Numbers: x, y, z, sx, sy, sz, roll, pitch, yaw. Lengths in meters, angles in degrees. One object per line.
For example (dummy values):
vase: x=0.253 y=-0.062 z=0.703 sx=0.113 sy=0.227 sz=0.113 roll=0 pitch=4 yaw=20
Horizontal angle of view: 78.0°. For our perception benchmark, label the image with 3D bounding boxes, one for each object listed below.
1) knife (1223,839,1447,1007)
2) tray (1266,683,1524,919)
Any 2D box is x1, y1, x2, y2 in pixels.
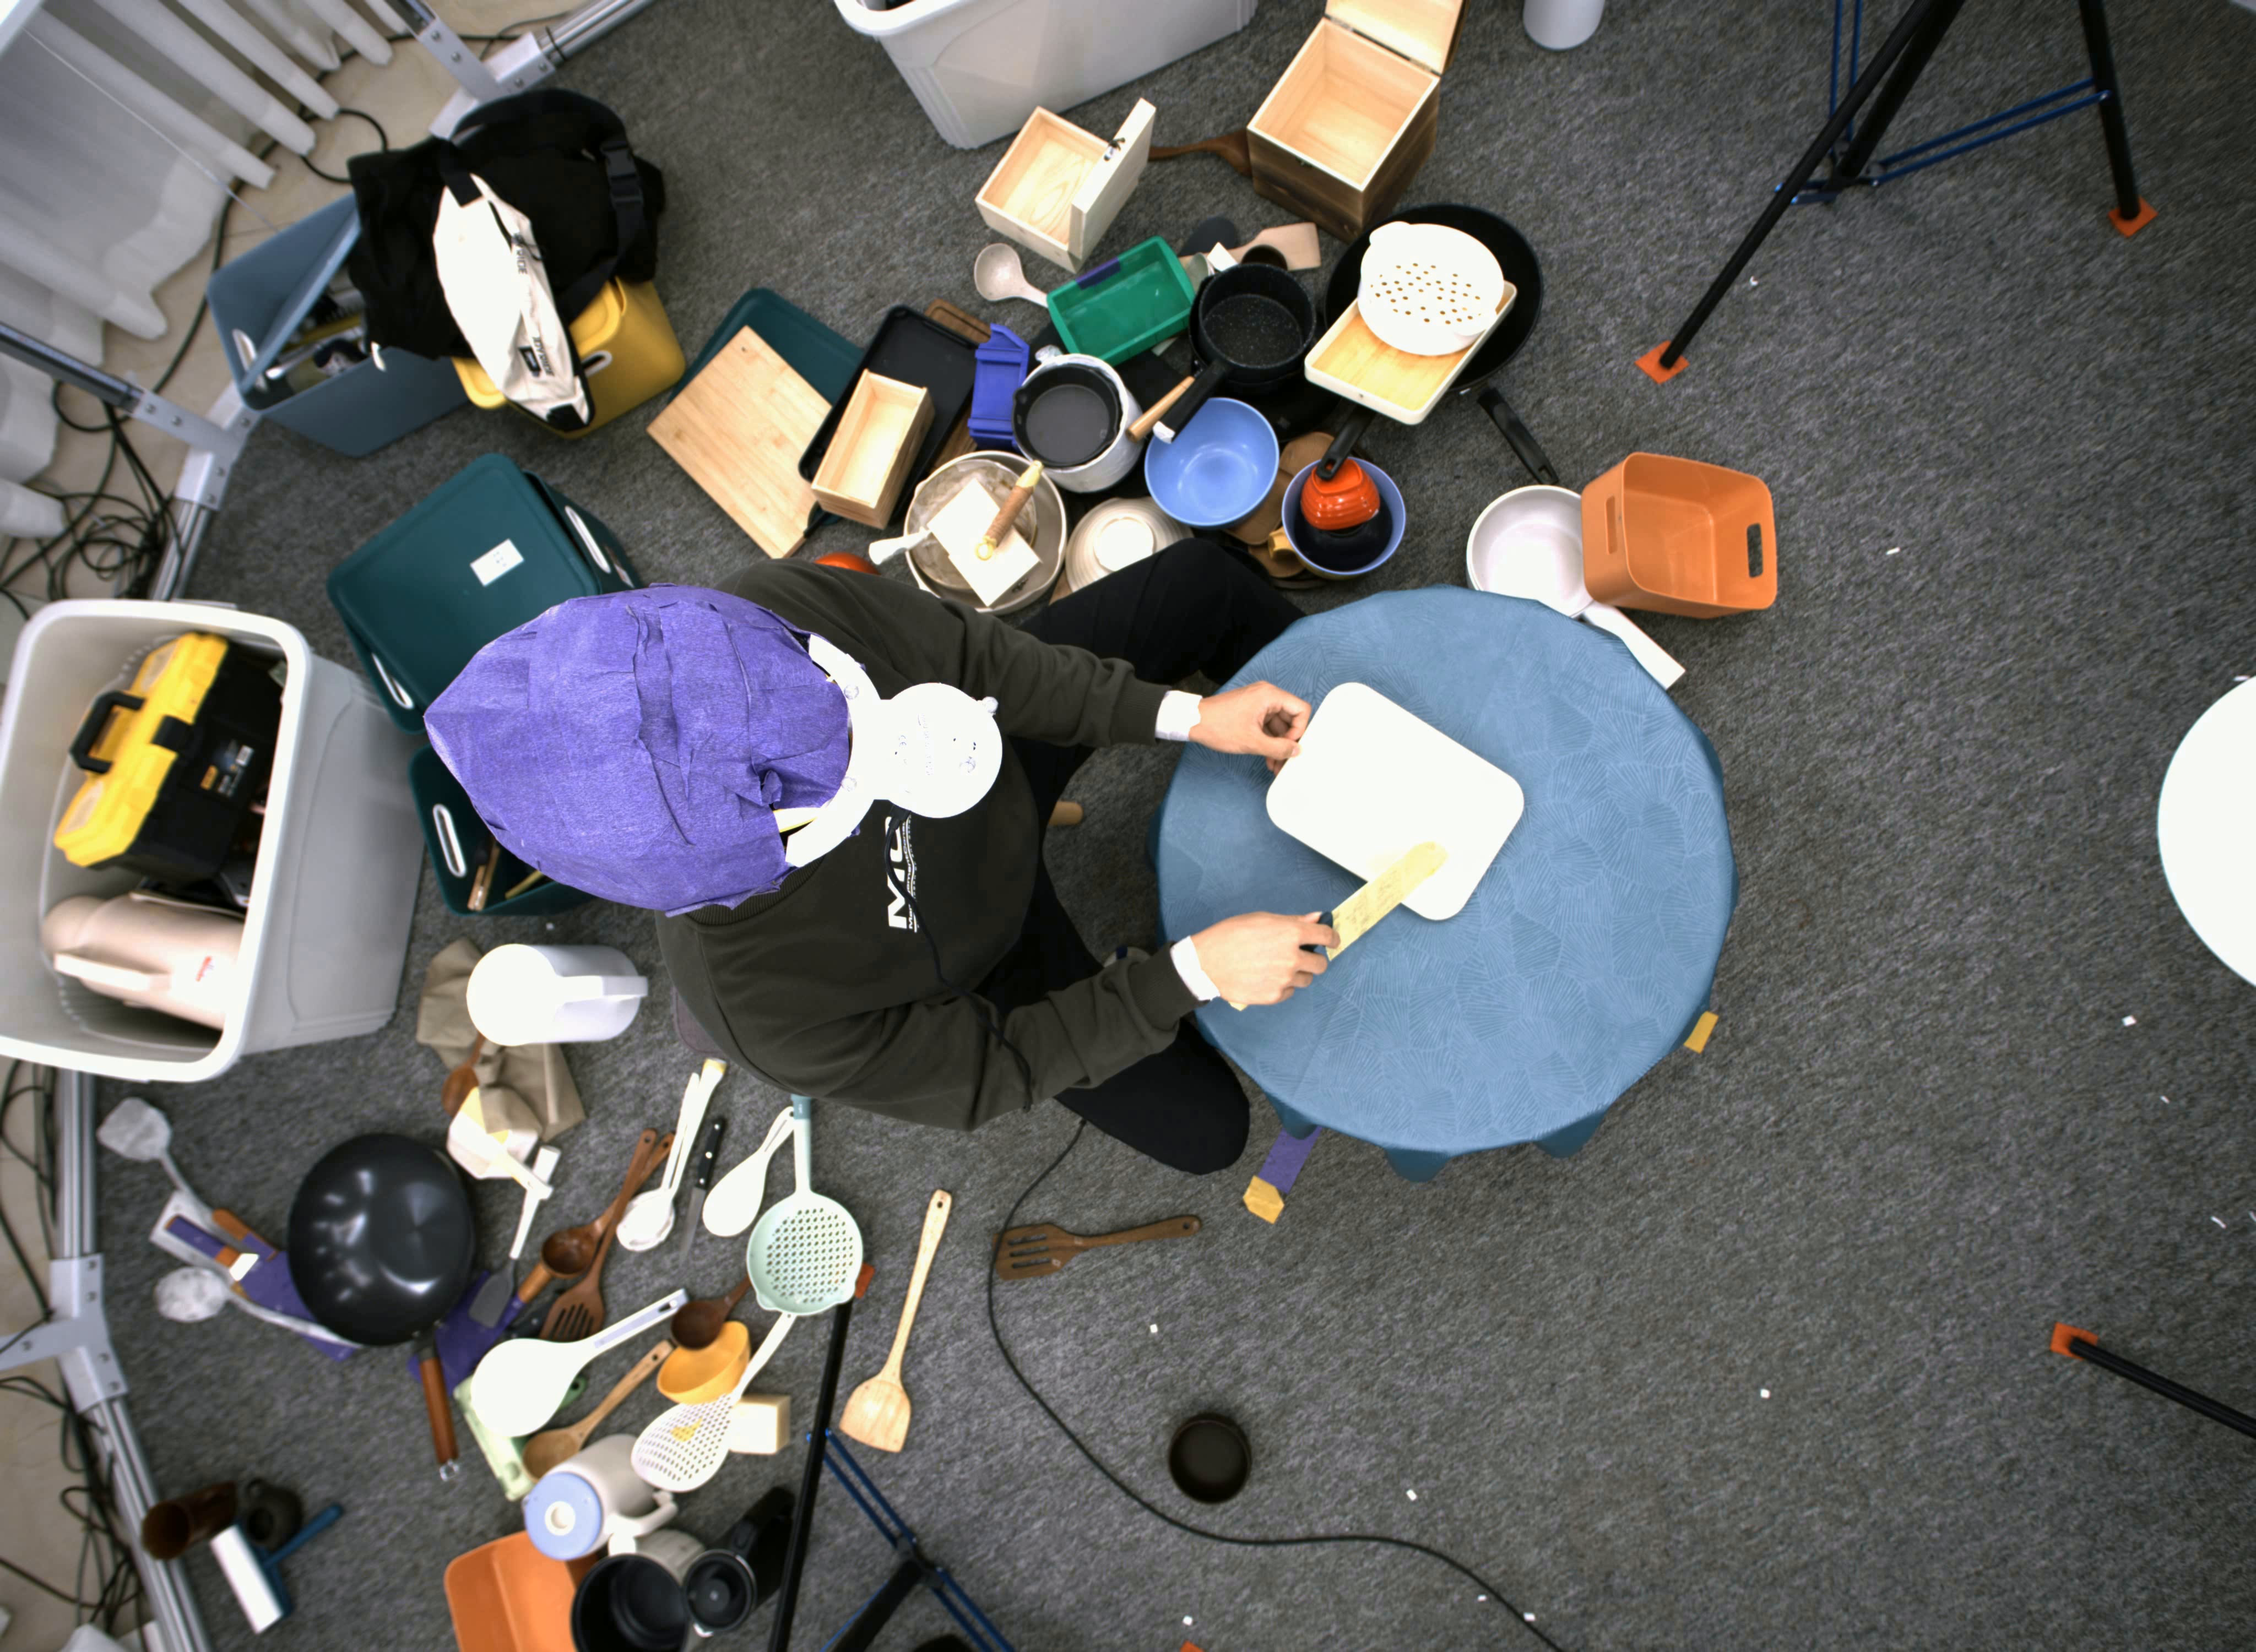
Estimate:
knife: x=0.213 y=0.097 z=1.386 sx=0.287 sy=0.083 sz=0.027 roll=-34 pitch=49 yaw=-13
tray: x=0.275 y=-0.027 z=1.421 sx=0.240 sy=0.017 sz=0.172 roll=31 pitch=98 yaw=-6
